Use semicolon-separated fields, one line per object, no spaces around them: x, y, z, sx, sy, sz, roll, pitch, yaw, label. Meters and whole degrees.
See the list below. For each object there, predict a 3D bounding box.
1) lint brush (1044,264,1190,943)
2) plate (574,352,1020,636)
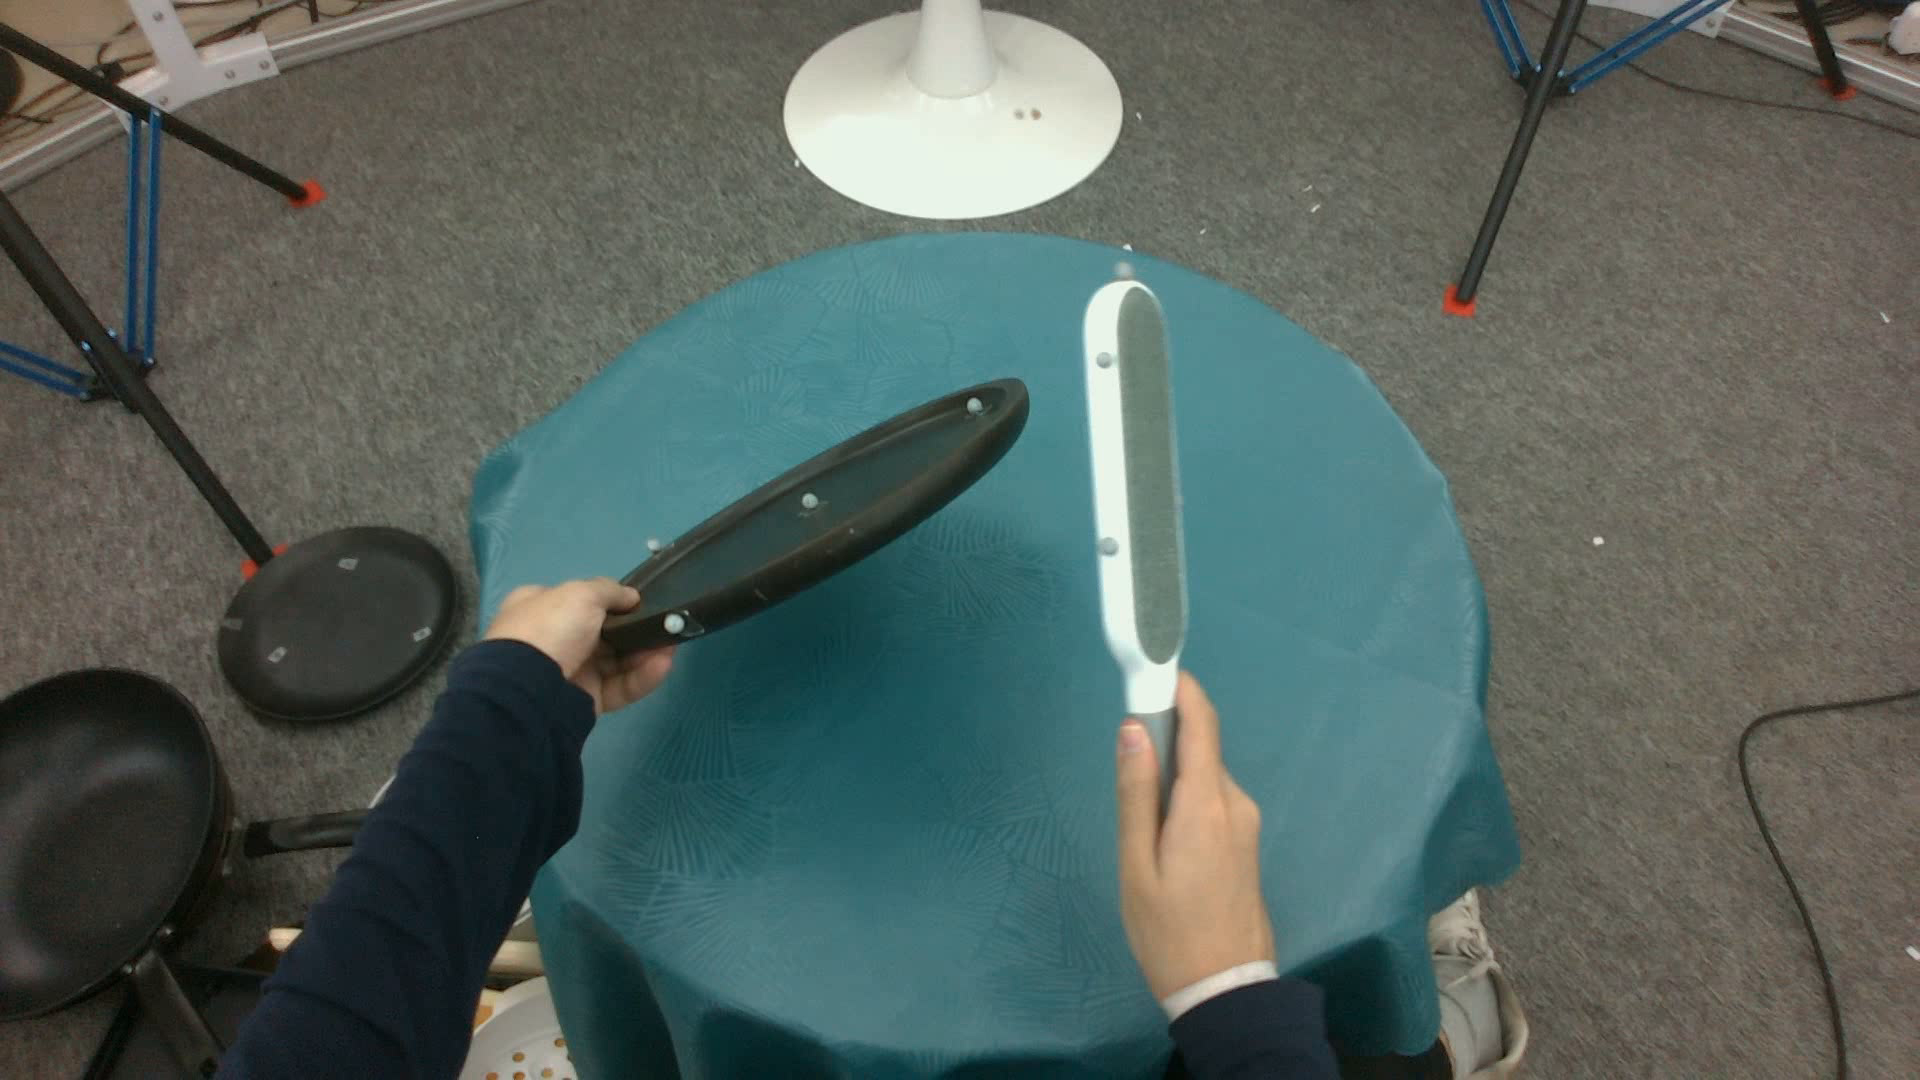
0.073;0.030;0.617;0.021;0.308;0.060;-6;3;30;lint brush
-0.081;-0.023;0.708;0.255;0.254;0.029;-35;104;-23;plate
